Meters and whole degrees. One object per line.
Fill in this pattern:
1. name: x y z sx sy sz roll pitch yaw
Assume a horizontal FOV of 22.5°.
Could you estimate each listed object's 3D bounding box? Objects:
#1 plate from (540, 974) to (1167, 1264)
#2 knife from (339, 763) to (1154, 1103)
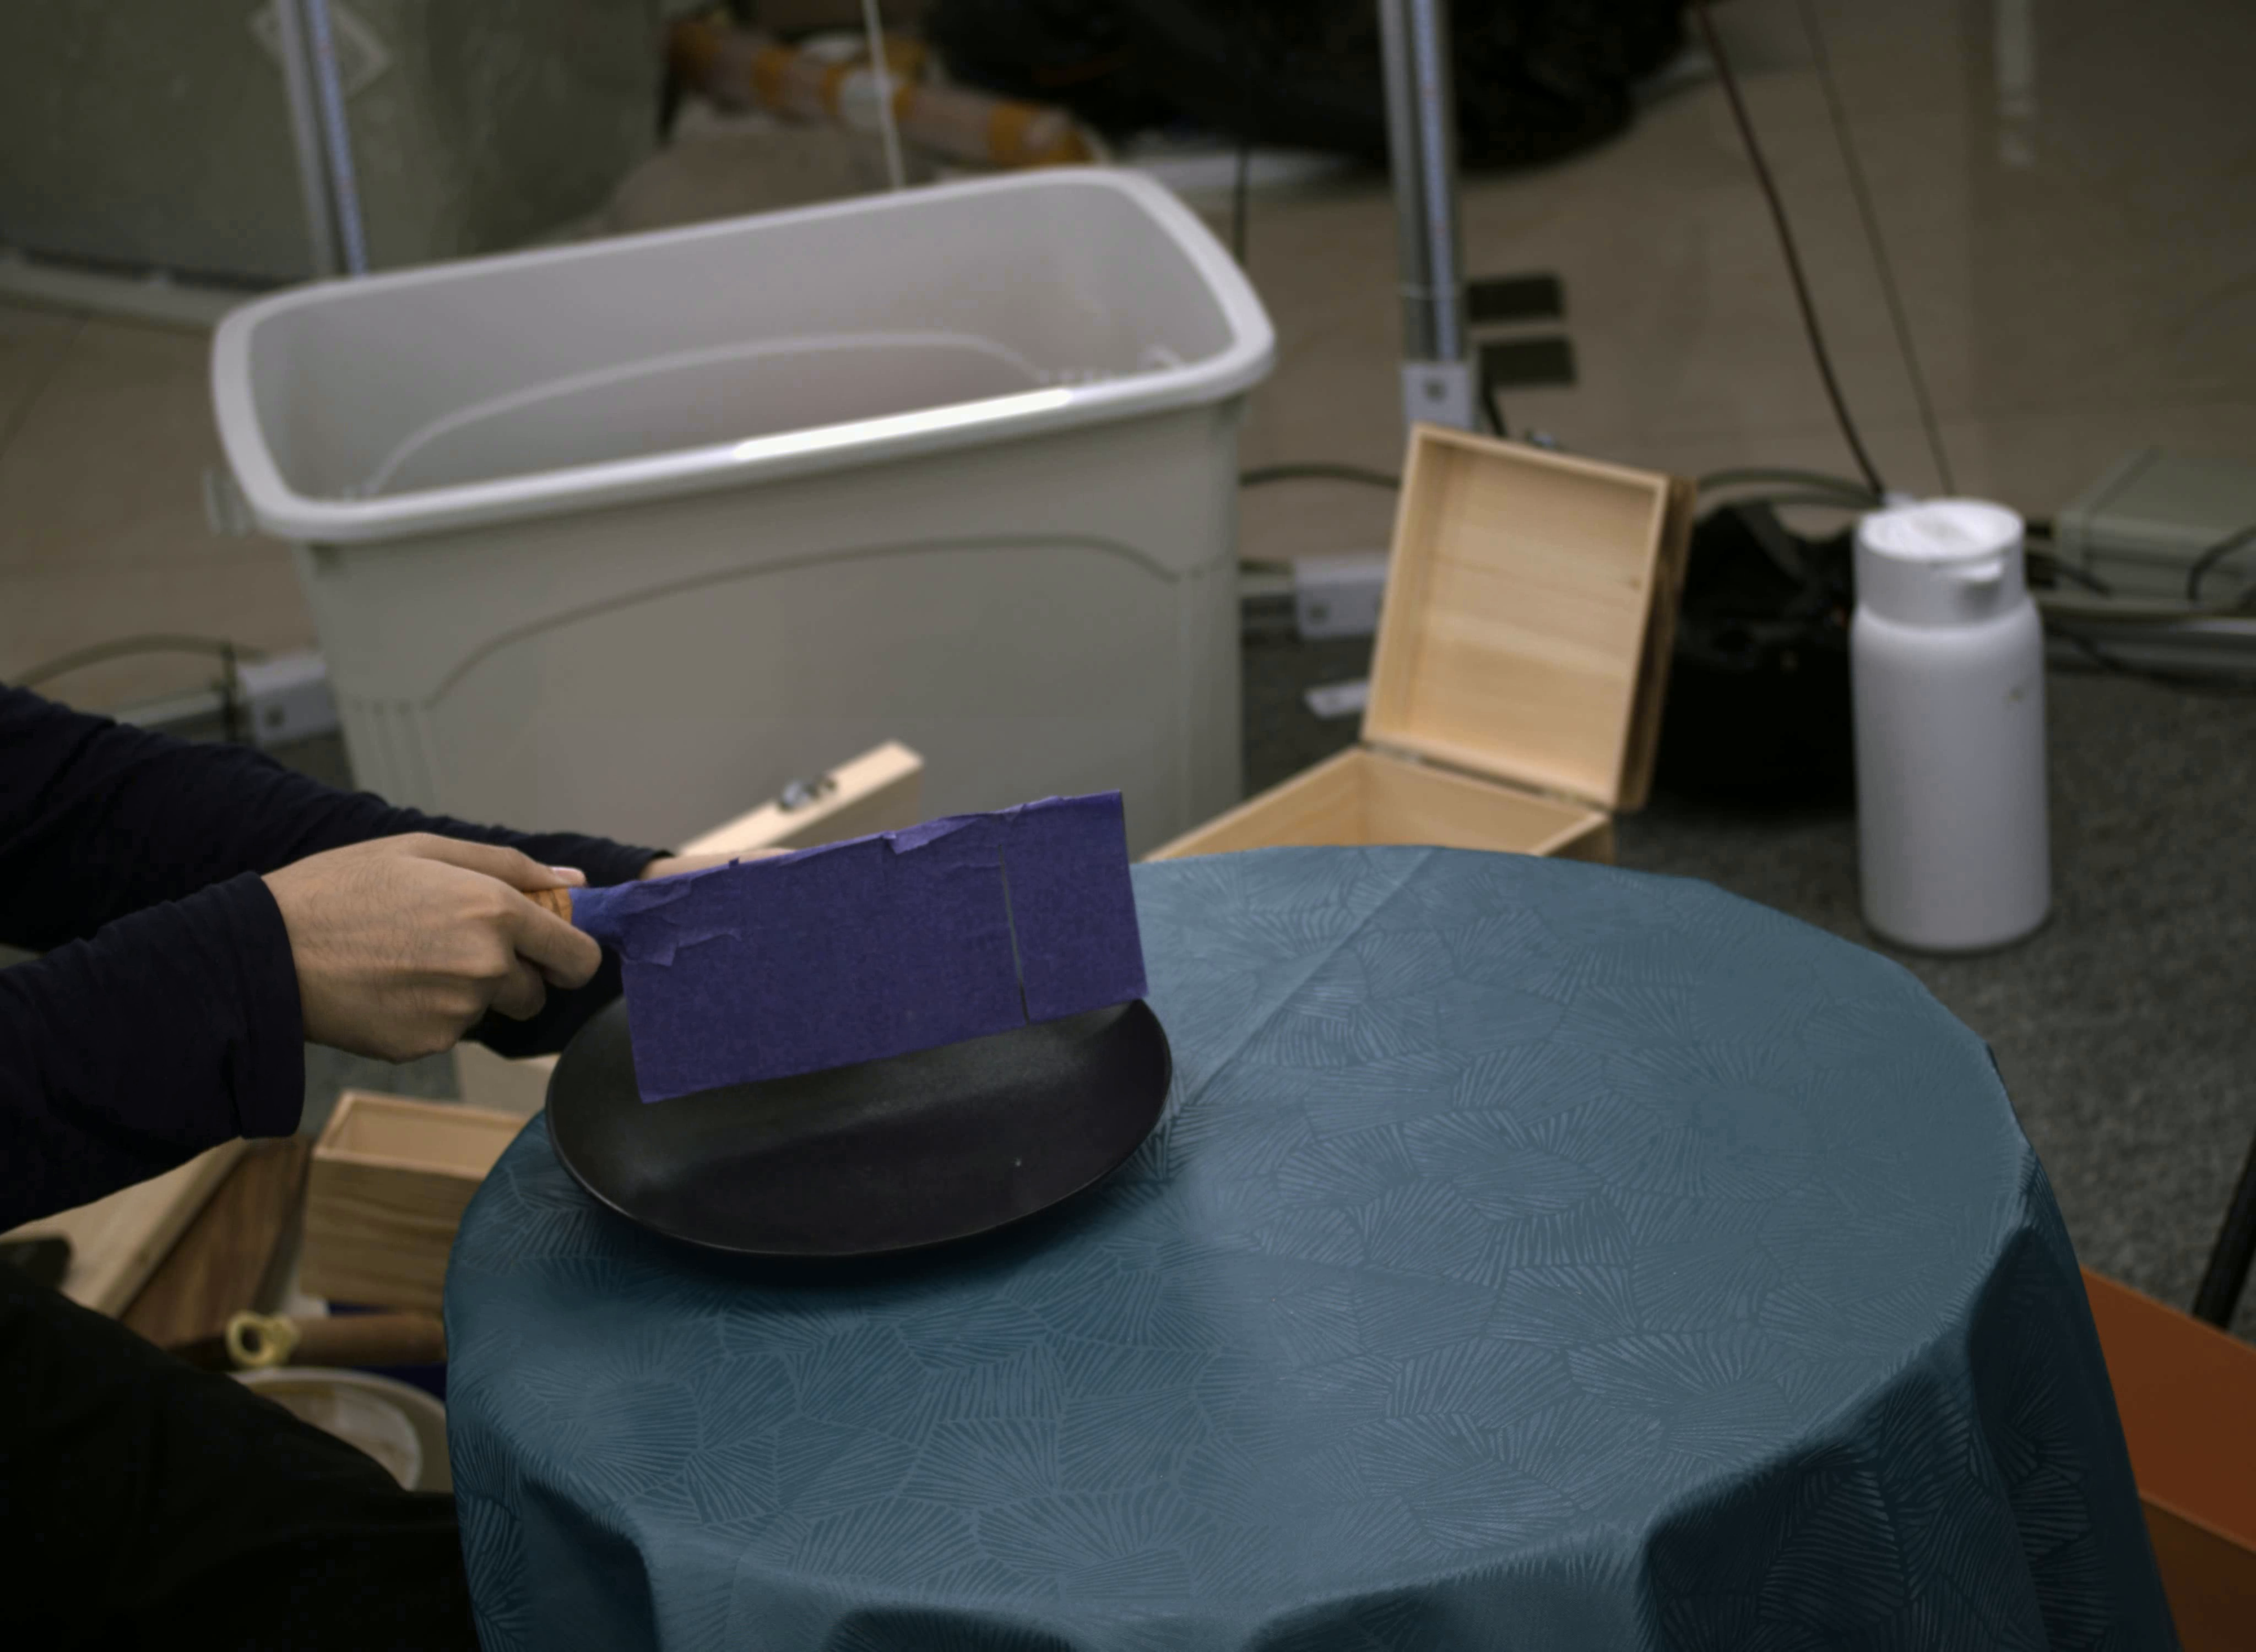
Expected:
1. plate: -0.105 0.106 2.198 0.244 0.024 0.240 -2 31 2
2. knife: -0.141 0.055 2.174 0.314 0.105 0.032 -12 19 -12
